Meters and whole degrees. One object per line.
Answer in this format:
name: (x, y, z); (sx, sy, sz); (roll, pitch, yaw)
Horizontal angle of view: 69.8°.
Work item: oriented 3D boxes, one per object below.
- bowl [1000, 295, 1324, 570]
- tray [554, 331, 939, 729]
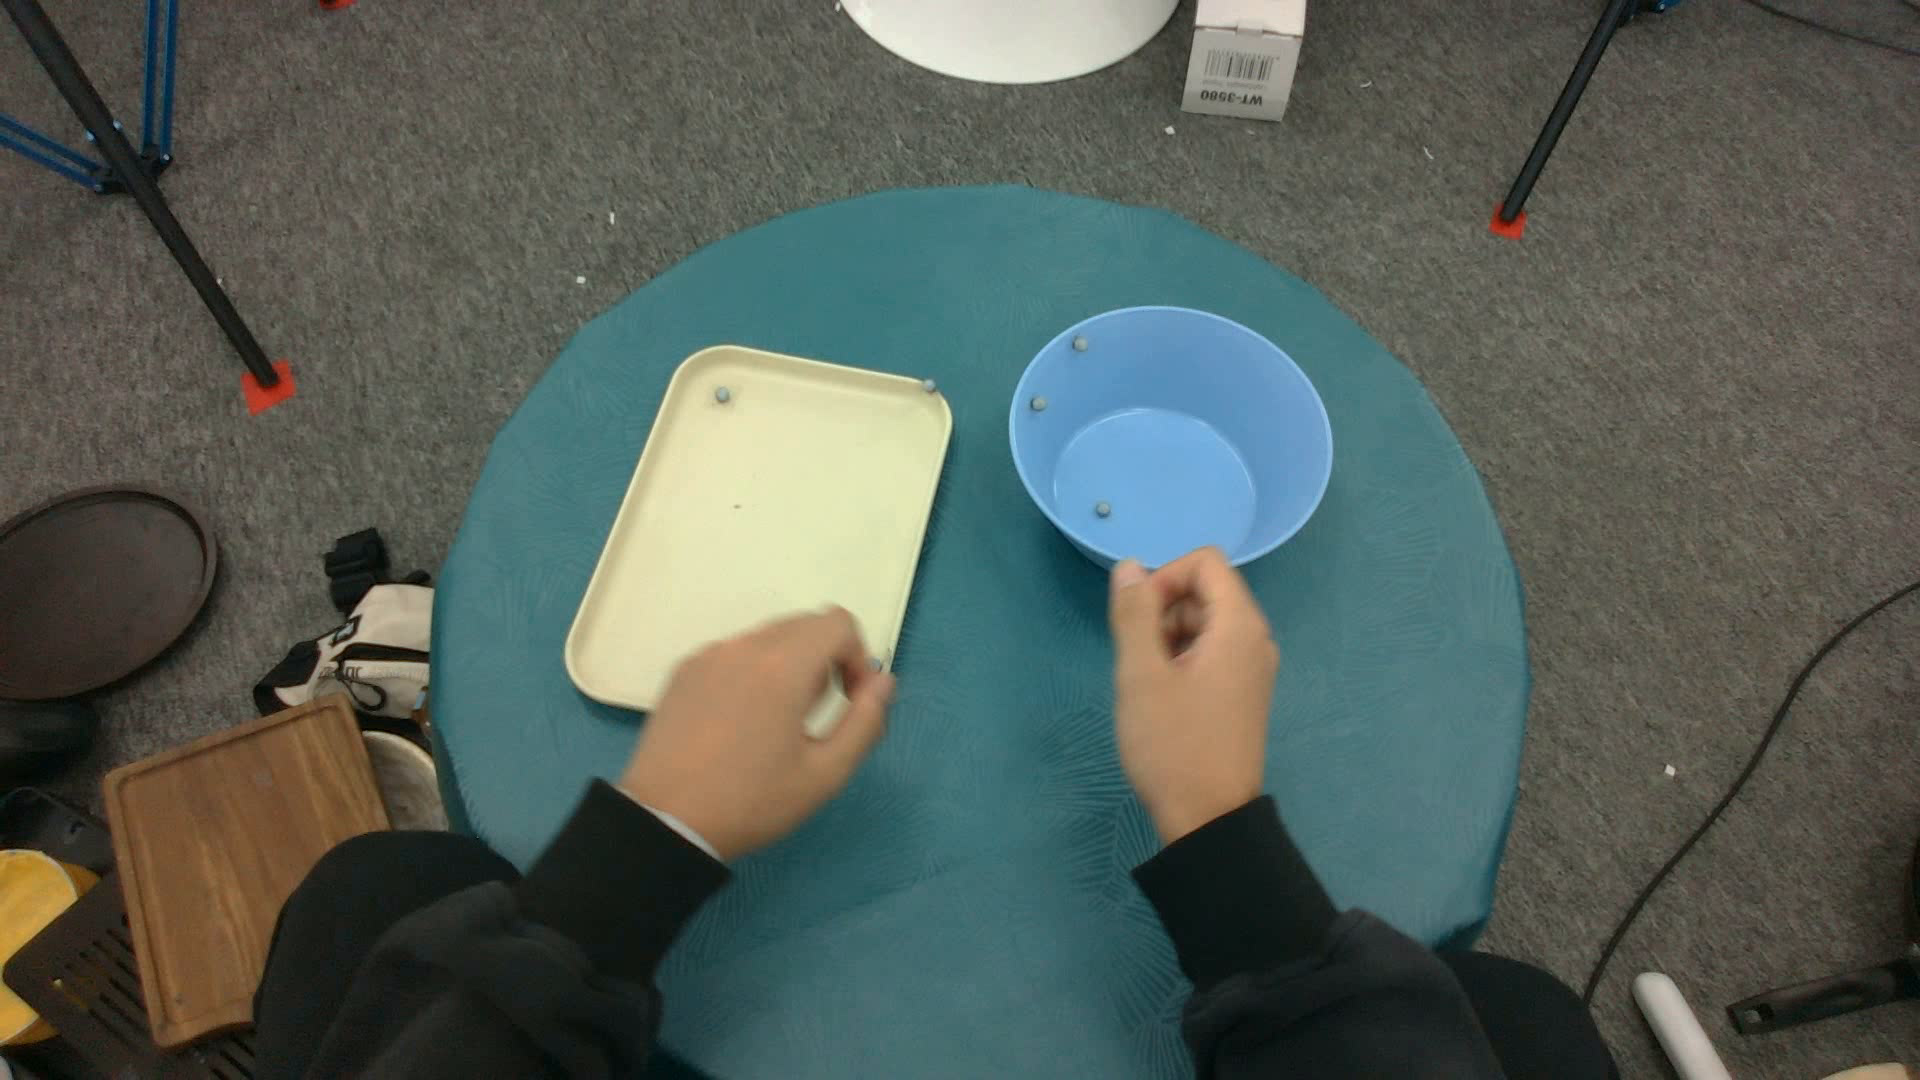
bowl: (0.108, -0.050, 0.772); (0.176, 0.070, 0.177); (1, 58, -2)
tray: (-0.112, -0.012, 0.769); (0.171, 0.017, 0.241); (11, 59, 4)
